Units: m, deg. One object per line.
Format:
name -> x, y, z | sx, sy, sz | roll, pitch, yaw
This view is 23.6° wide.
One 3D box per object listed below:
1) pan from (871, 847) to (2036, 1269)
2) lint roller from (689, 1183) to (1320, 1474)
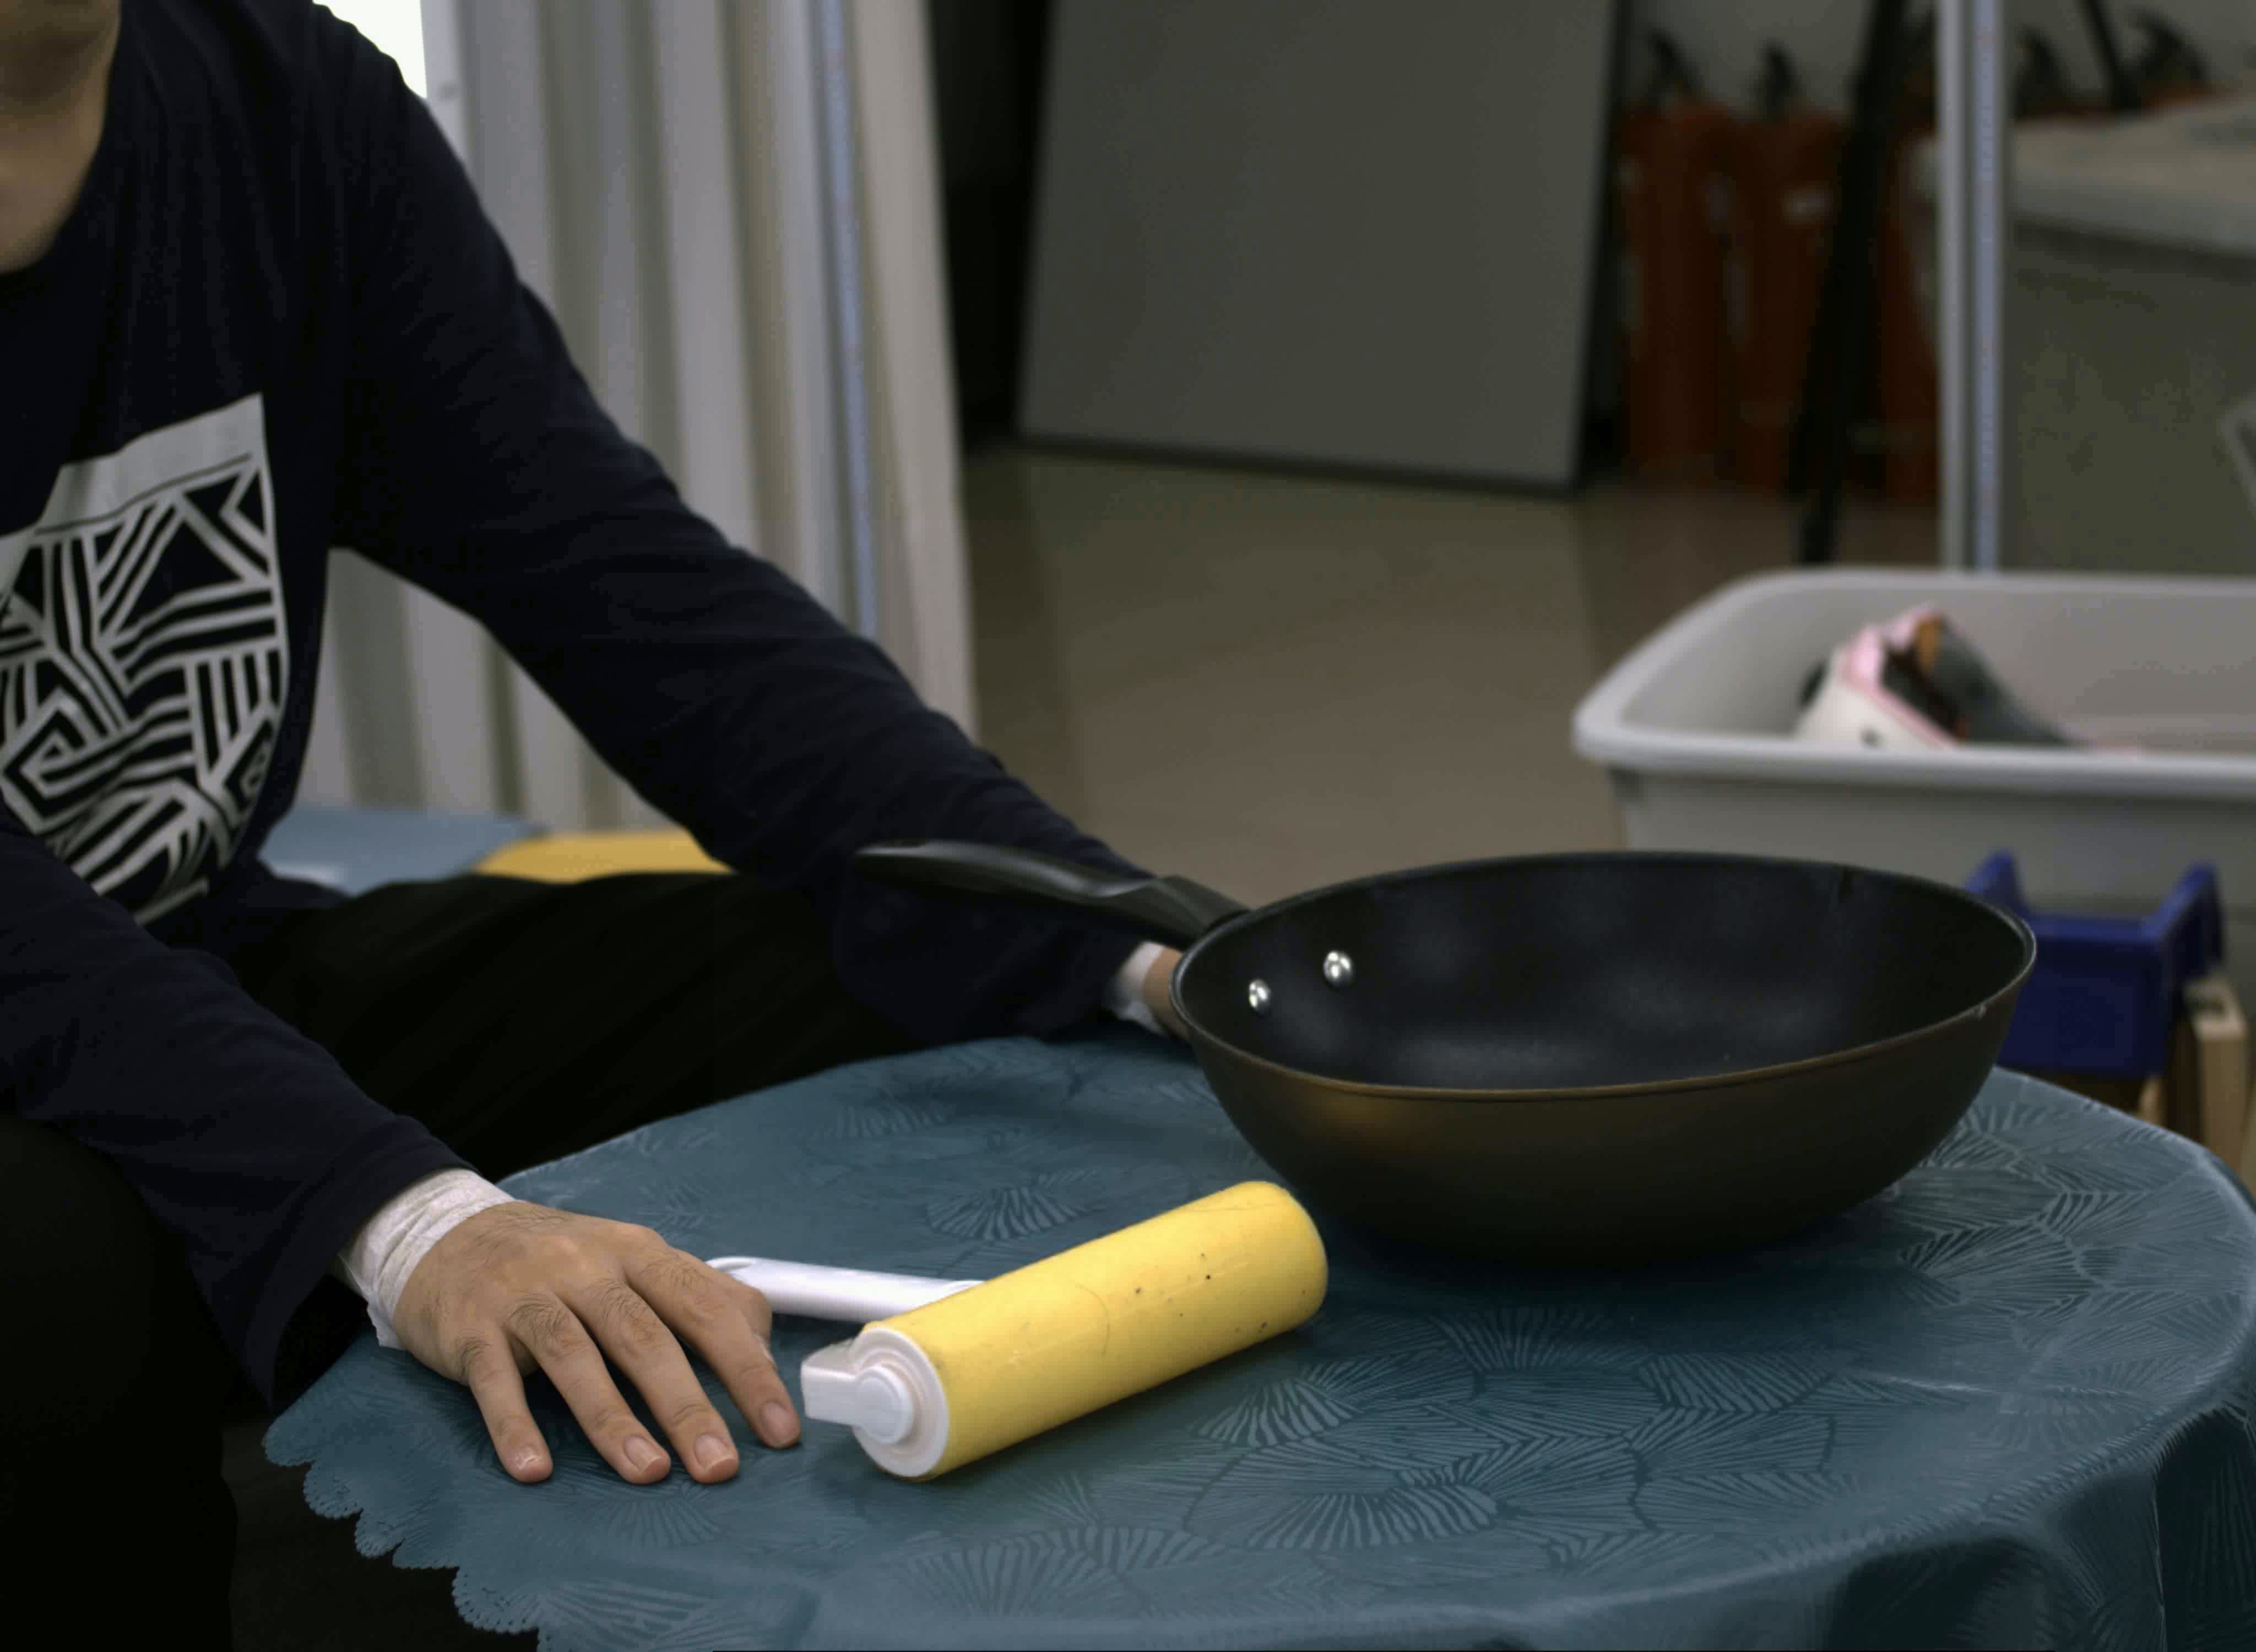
pan -> 0.083, 0.071, 1.784 | 0.467, 0.088, 0.282 | 7, 17, 41
lint roller -> -0.065, 0.139, 1.622 | 0.194, 0.052, 0.170 | 10, 19, 44
